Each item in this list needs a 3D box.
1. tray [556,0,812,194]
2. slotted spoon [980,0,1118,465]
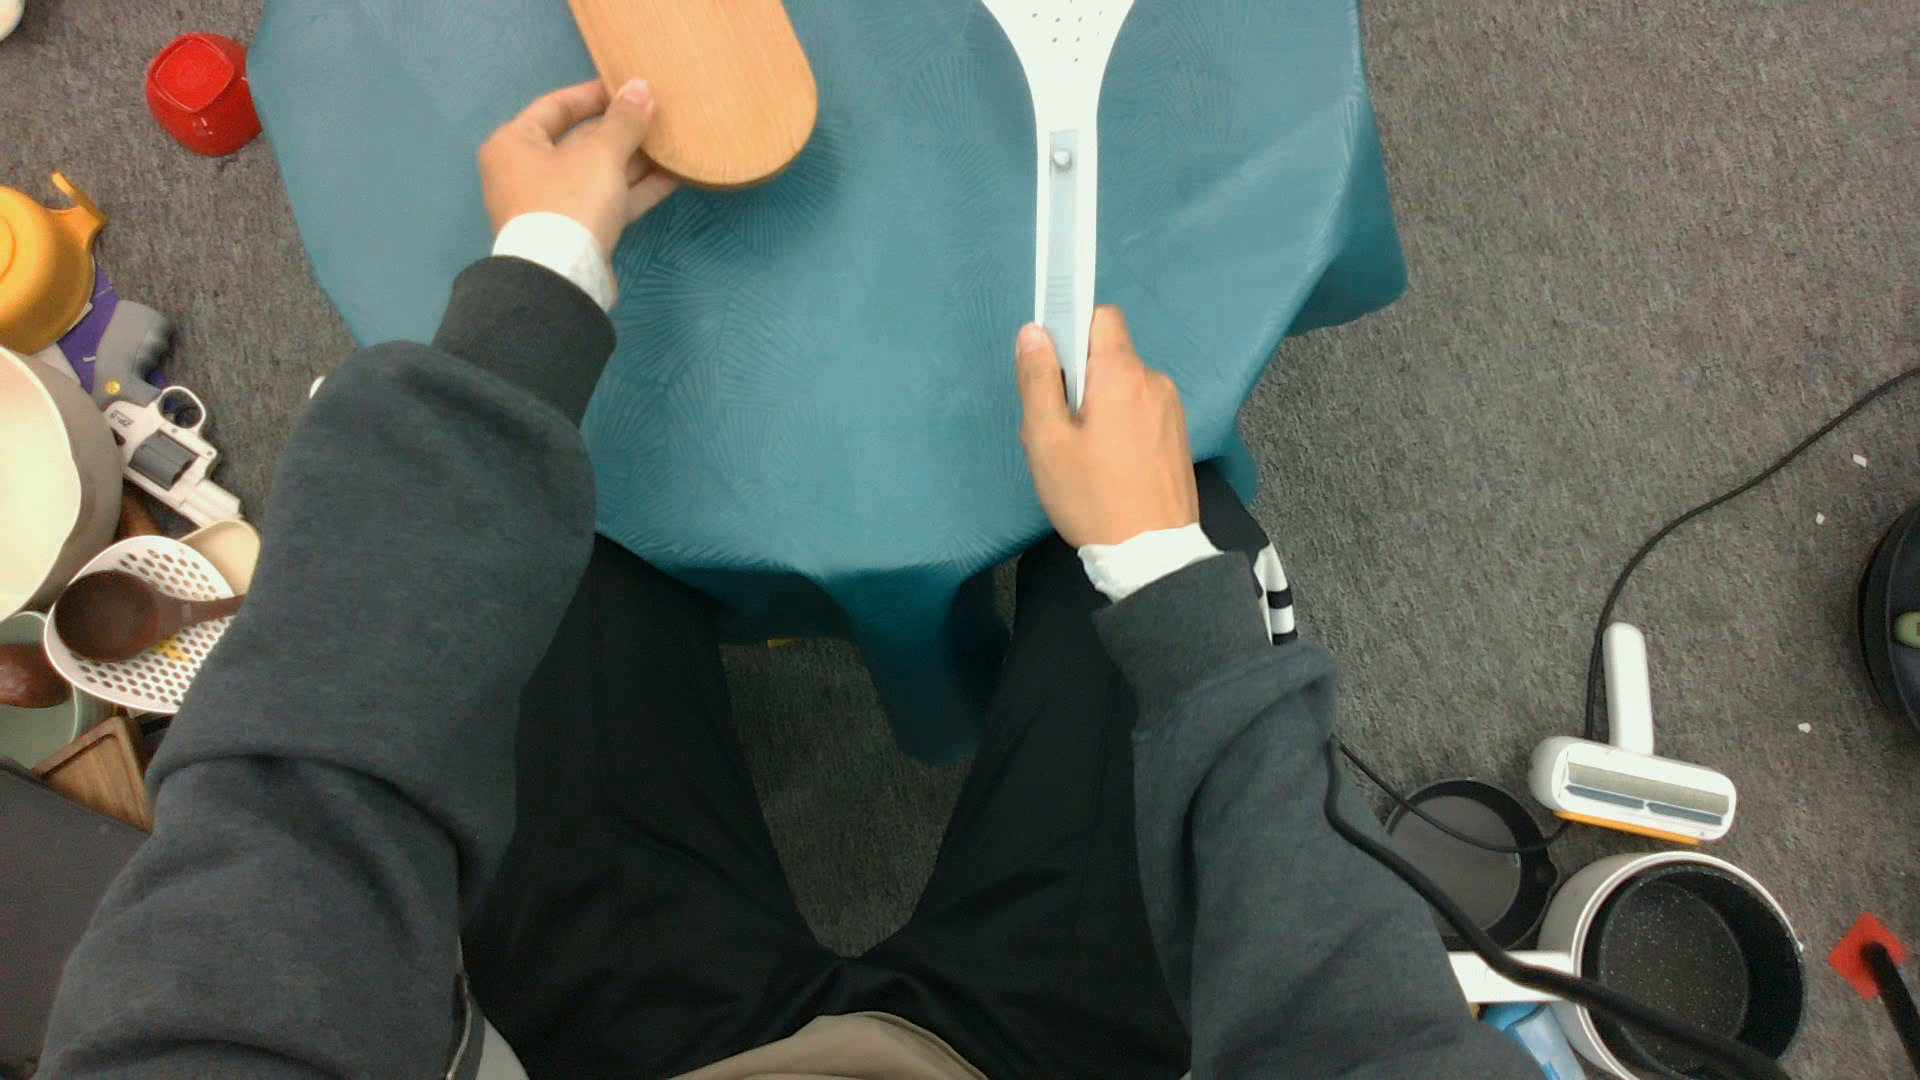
[{"bbox_3d":[-0.155,-0.280,0.708,0.102,0.020,0.231,-23,82,-16],"label":"tray"},{"bbox_3d":[0.046,-0.211,0.645,0.136,0.046,0.350,1,87,27],"label":"slotted spoon"}]
